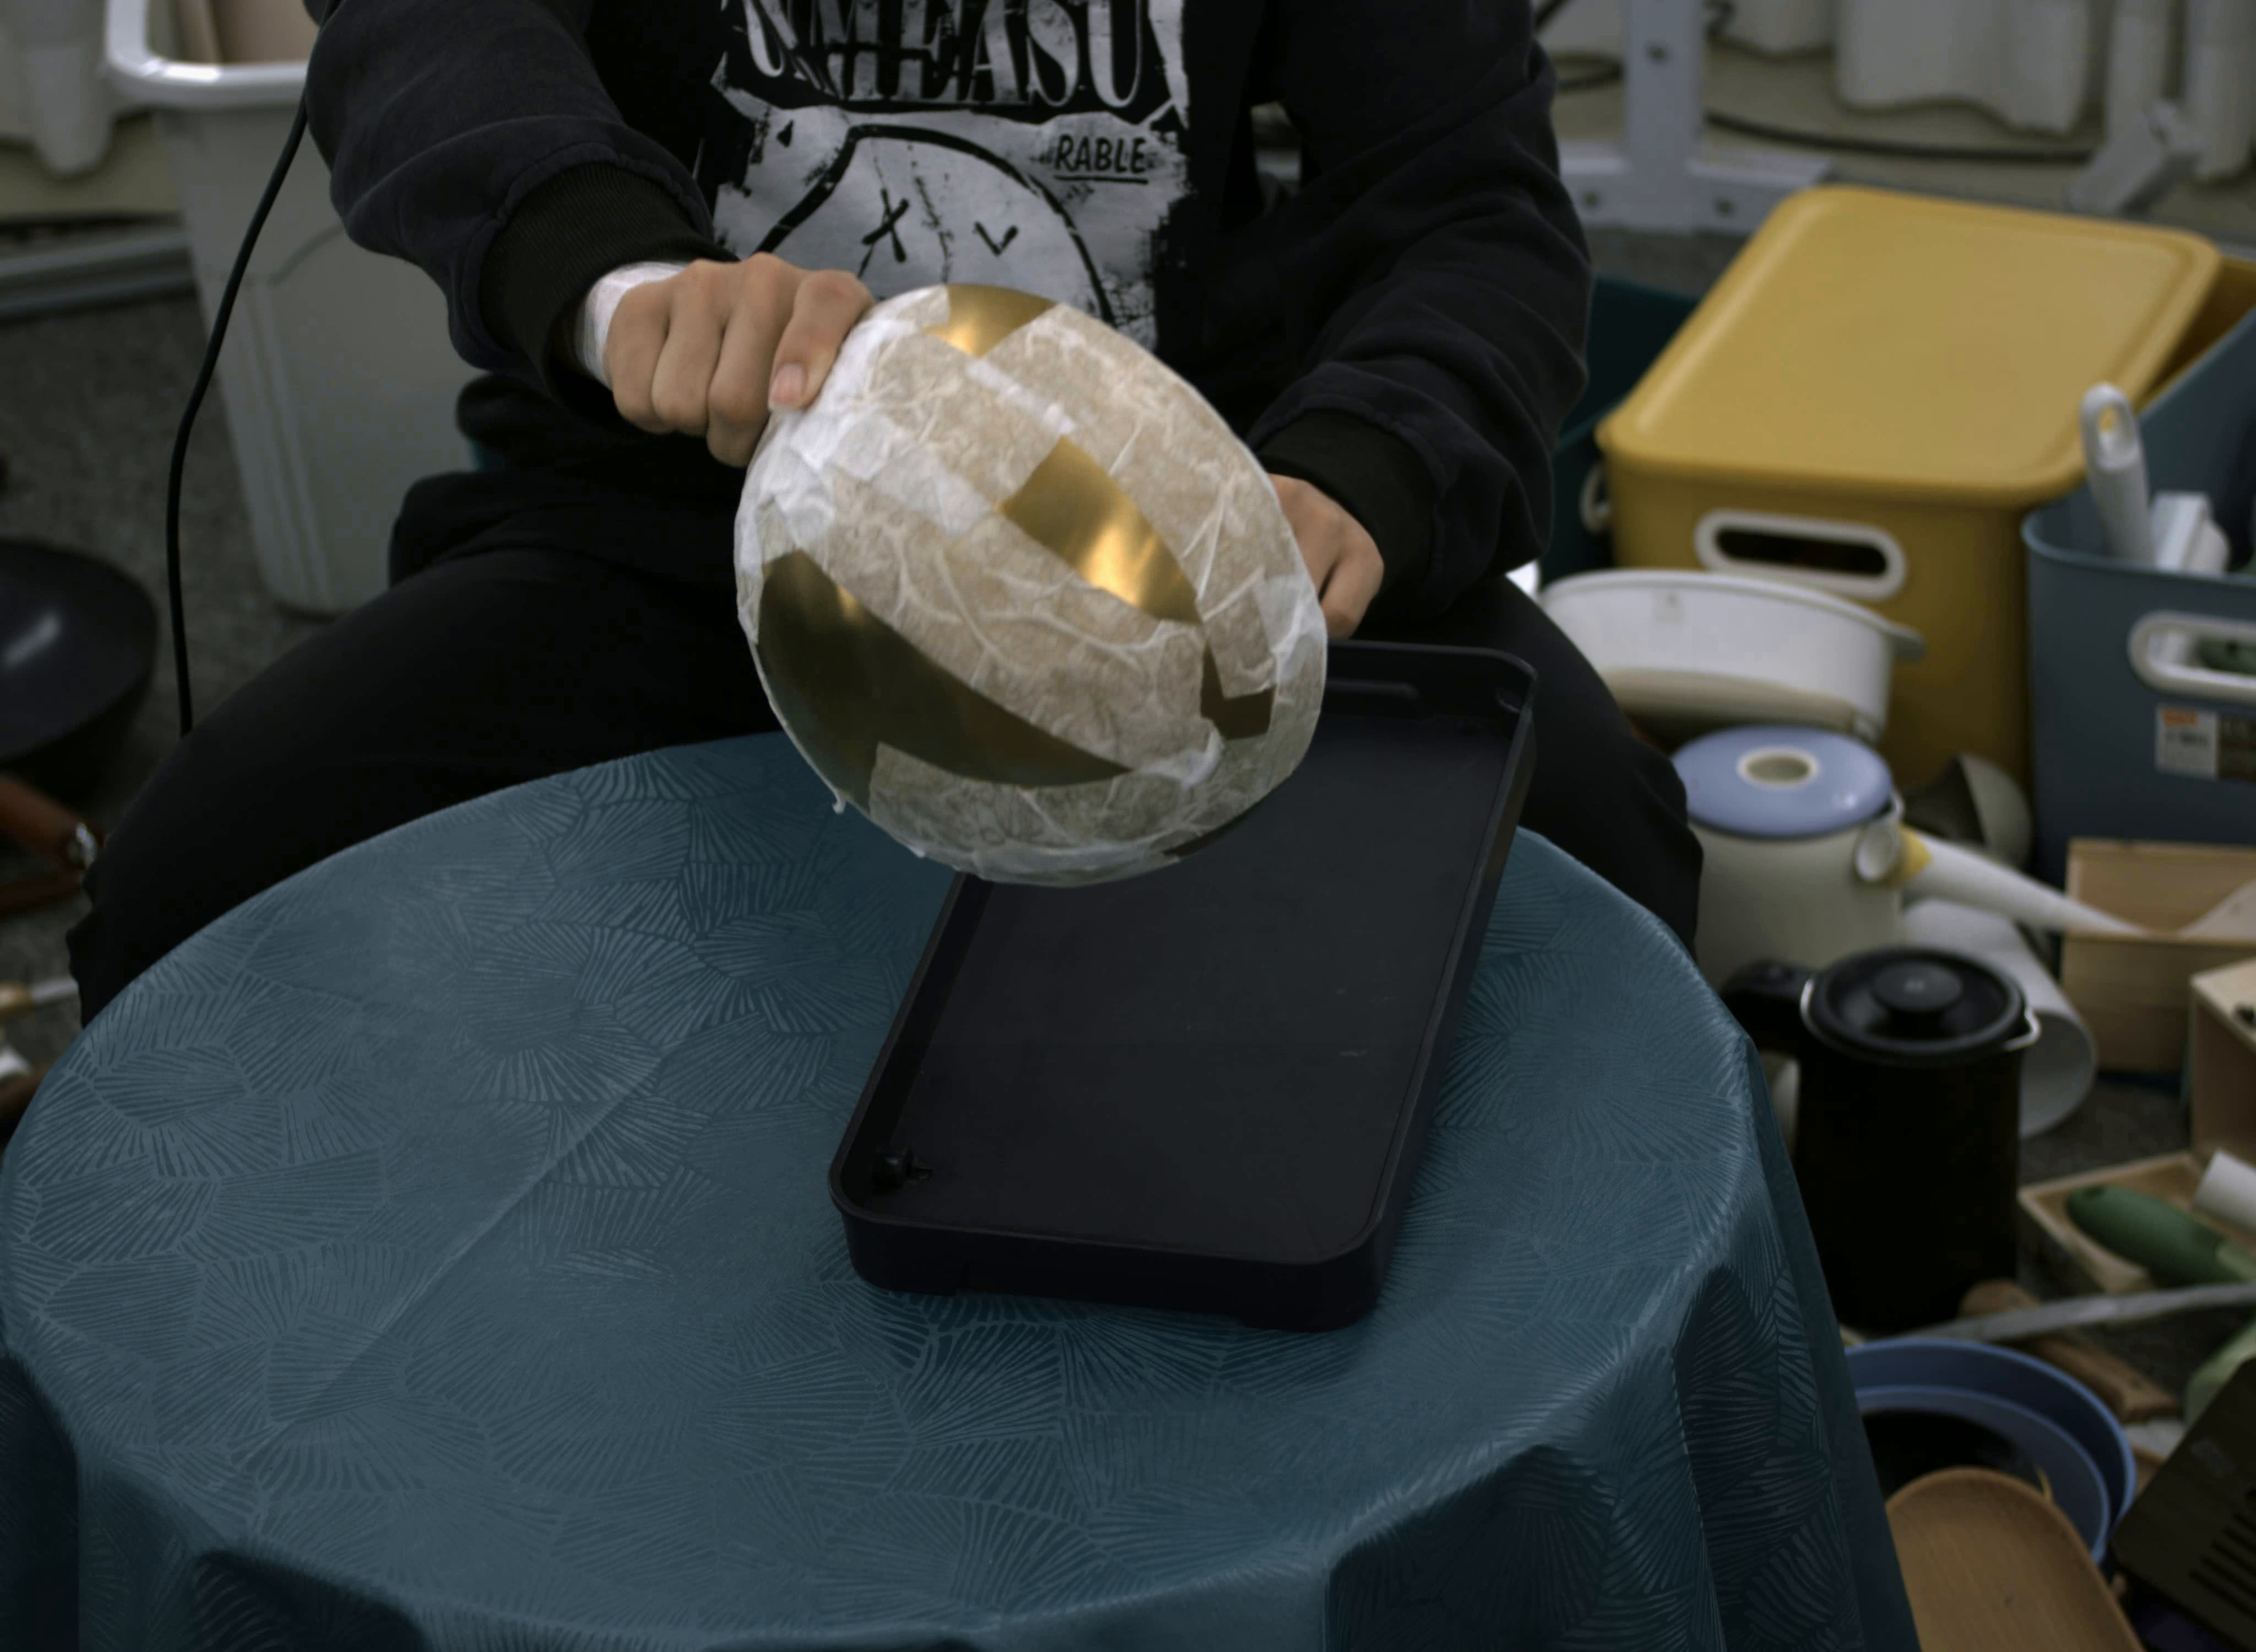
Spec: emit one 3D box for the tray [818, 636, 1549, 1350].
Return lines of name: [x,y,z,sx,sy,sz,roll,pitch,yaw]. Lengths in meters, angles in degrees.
tray: [0.026,0.046,1.906,0.183,0.036,0.324,6,41,15]

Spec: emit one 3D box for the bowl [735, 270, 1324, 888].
bowl: [-0.049,-0.057,1.737,0.214,0.212,0.096,16,40,32]
